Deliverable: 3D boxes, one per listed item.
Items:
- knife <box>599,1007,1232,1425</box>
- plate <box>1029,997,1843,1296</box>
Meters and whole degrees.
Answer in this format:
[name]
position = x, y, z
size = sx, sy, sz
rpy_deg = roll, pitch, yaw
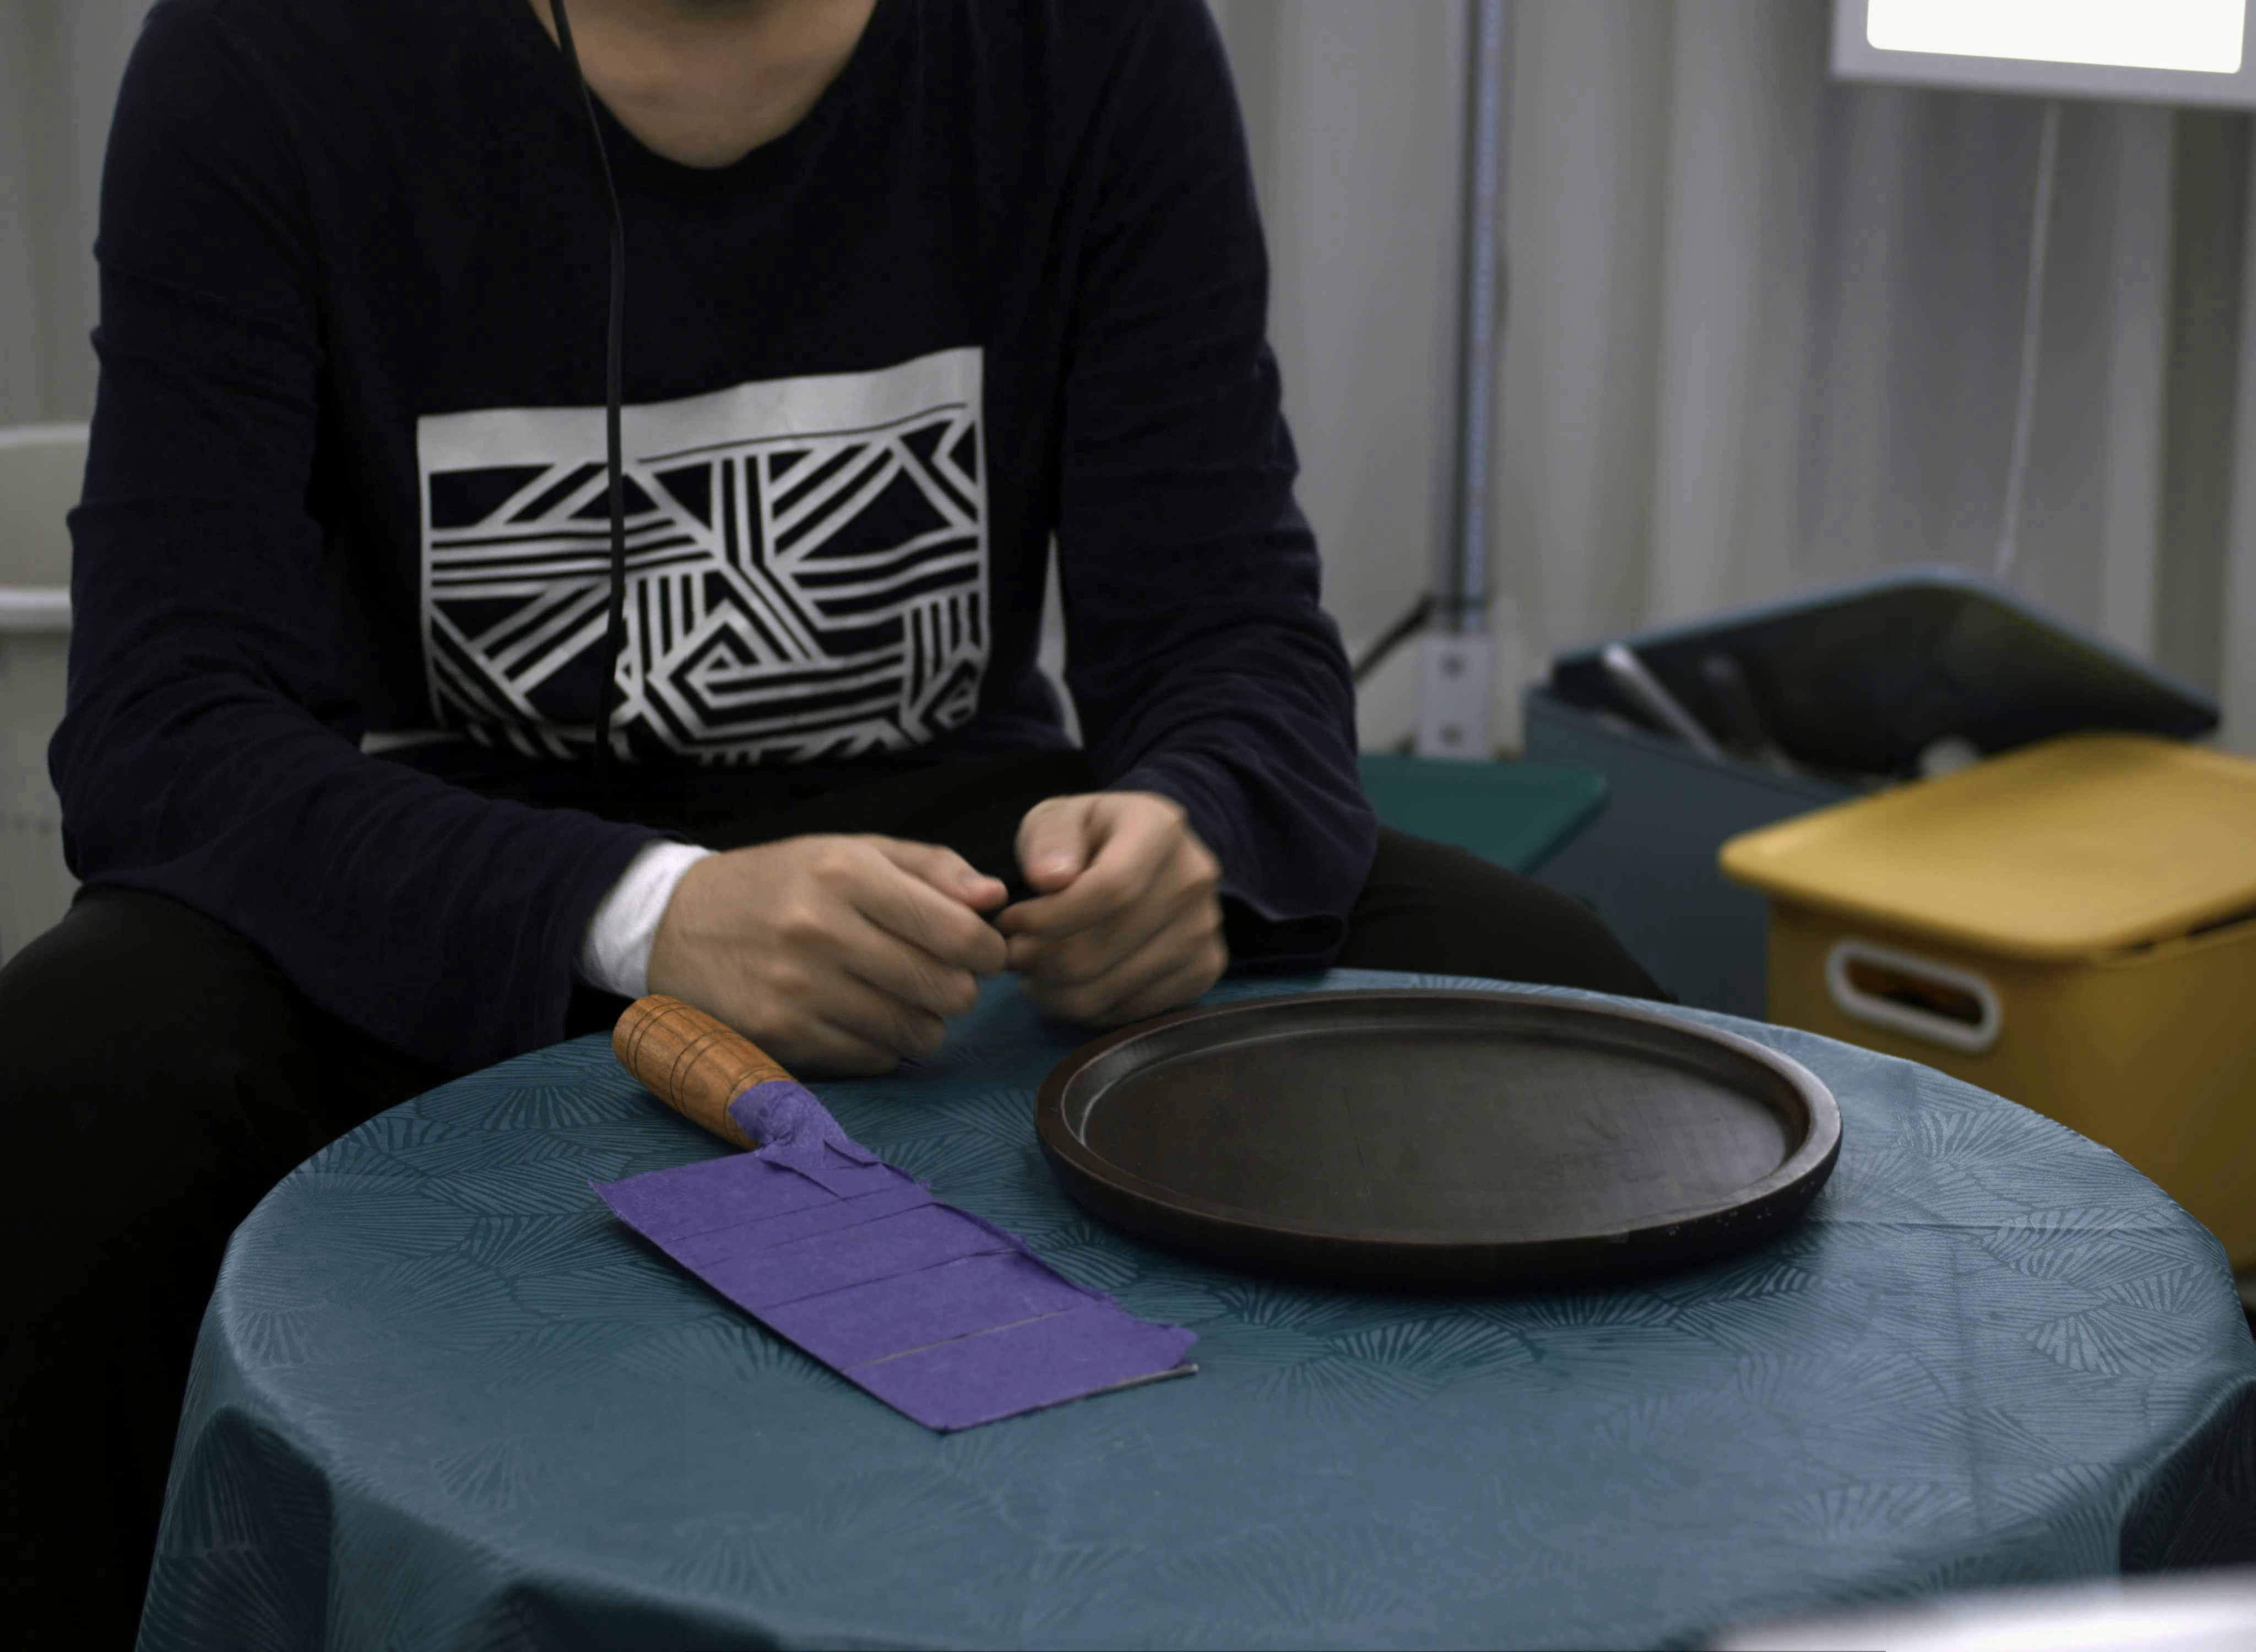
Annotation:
[knife]
position = -0.097, 0.113, 1.571
size = 0.104, 0.032, 0.311
rpy_deg = -10, 19, -33
[plate]
position = 0.095, 0.096, 1.641
size = 0.254, 0.029, 0.253
rpy_deg = 1, 16, 0
